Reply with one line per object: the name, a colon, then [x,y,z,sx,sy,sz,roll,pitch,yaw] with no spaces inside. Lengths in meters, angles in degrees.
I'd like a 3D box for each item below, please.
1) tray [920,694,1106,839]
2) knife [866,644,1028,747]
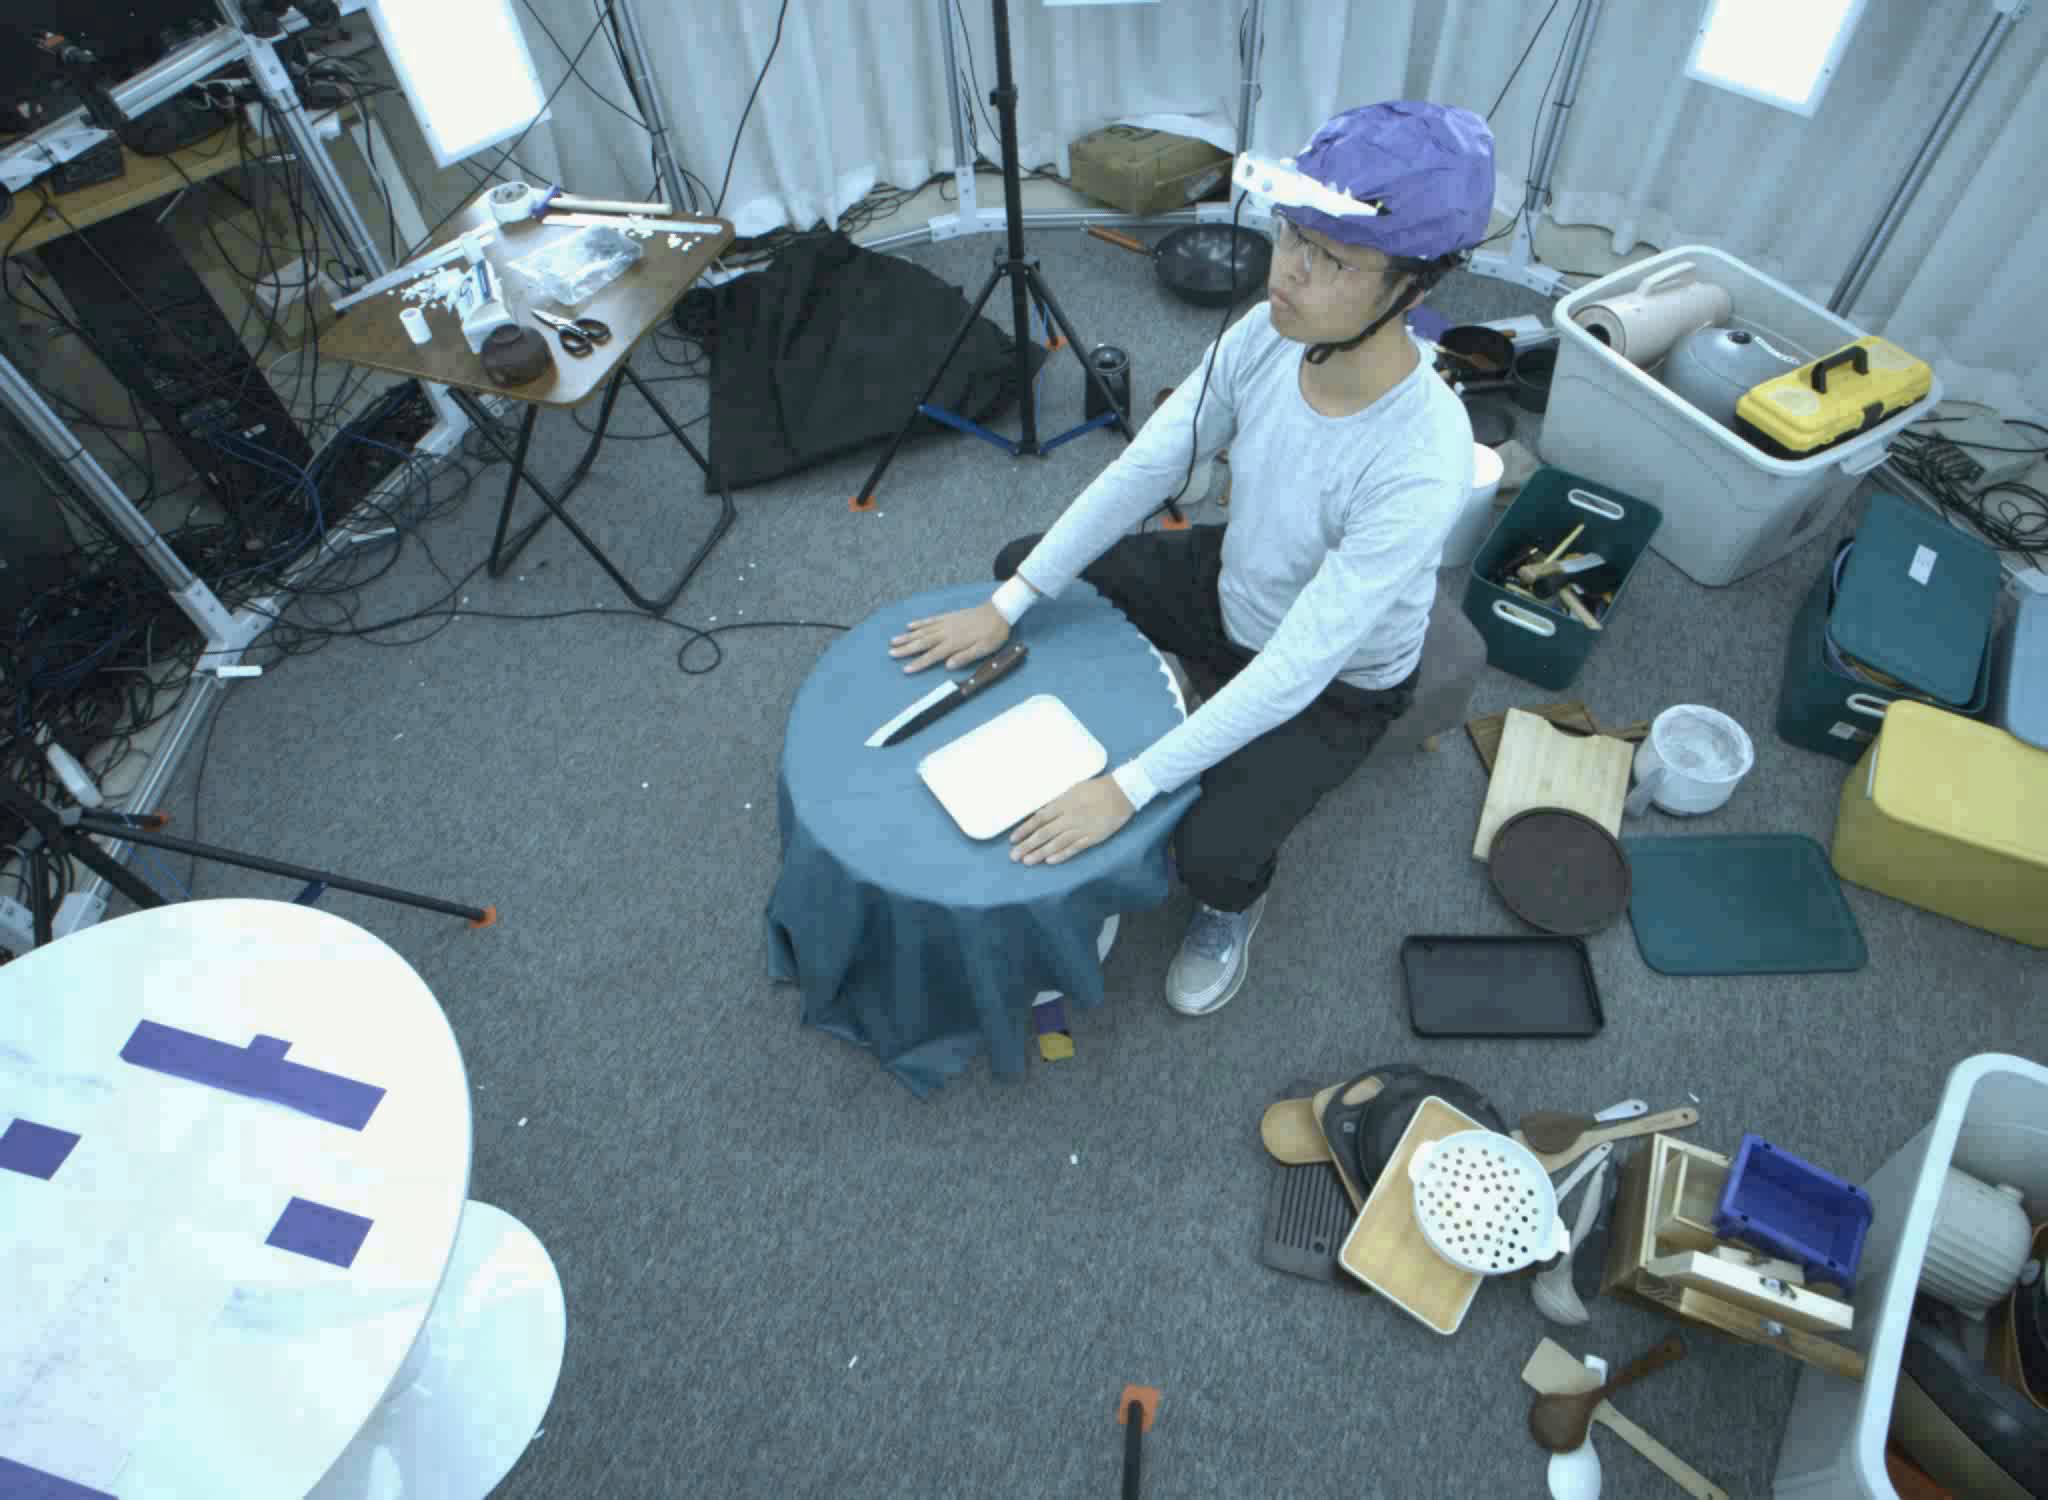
tray: [-0.015,0.022,1.769,0.241,0.017,0.168,-30,59,-19]
knife: [-0.115,-0.081,1.847,0.291,0.020,0.049,-33,55,-18]
